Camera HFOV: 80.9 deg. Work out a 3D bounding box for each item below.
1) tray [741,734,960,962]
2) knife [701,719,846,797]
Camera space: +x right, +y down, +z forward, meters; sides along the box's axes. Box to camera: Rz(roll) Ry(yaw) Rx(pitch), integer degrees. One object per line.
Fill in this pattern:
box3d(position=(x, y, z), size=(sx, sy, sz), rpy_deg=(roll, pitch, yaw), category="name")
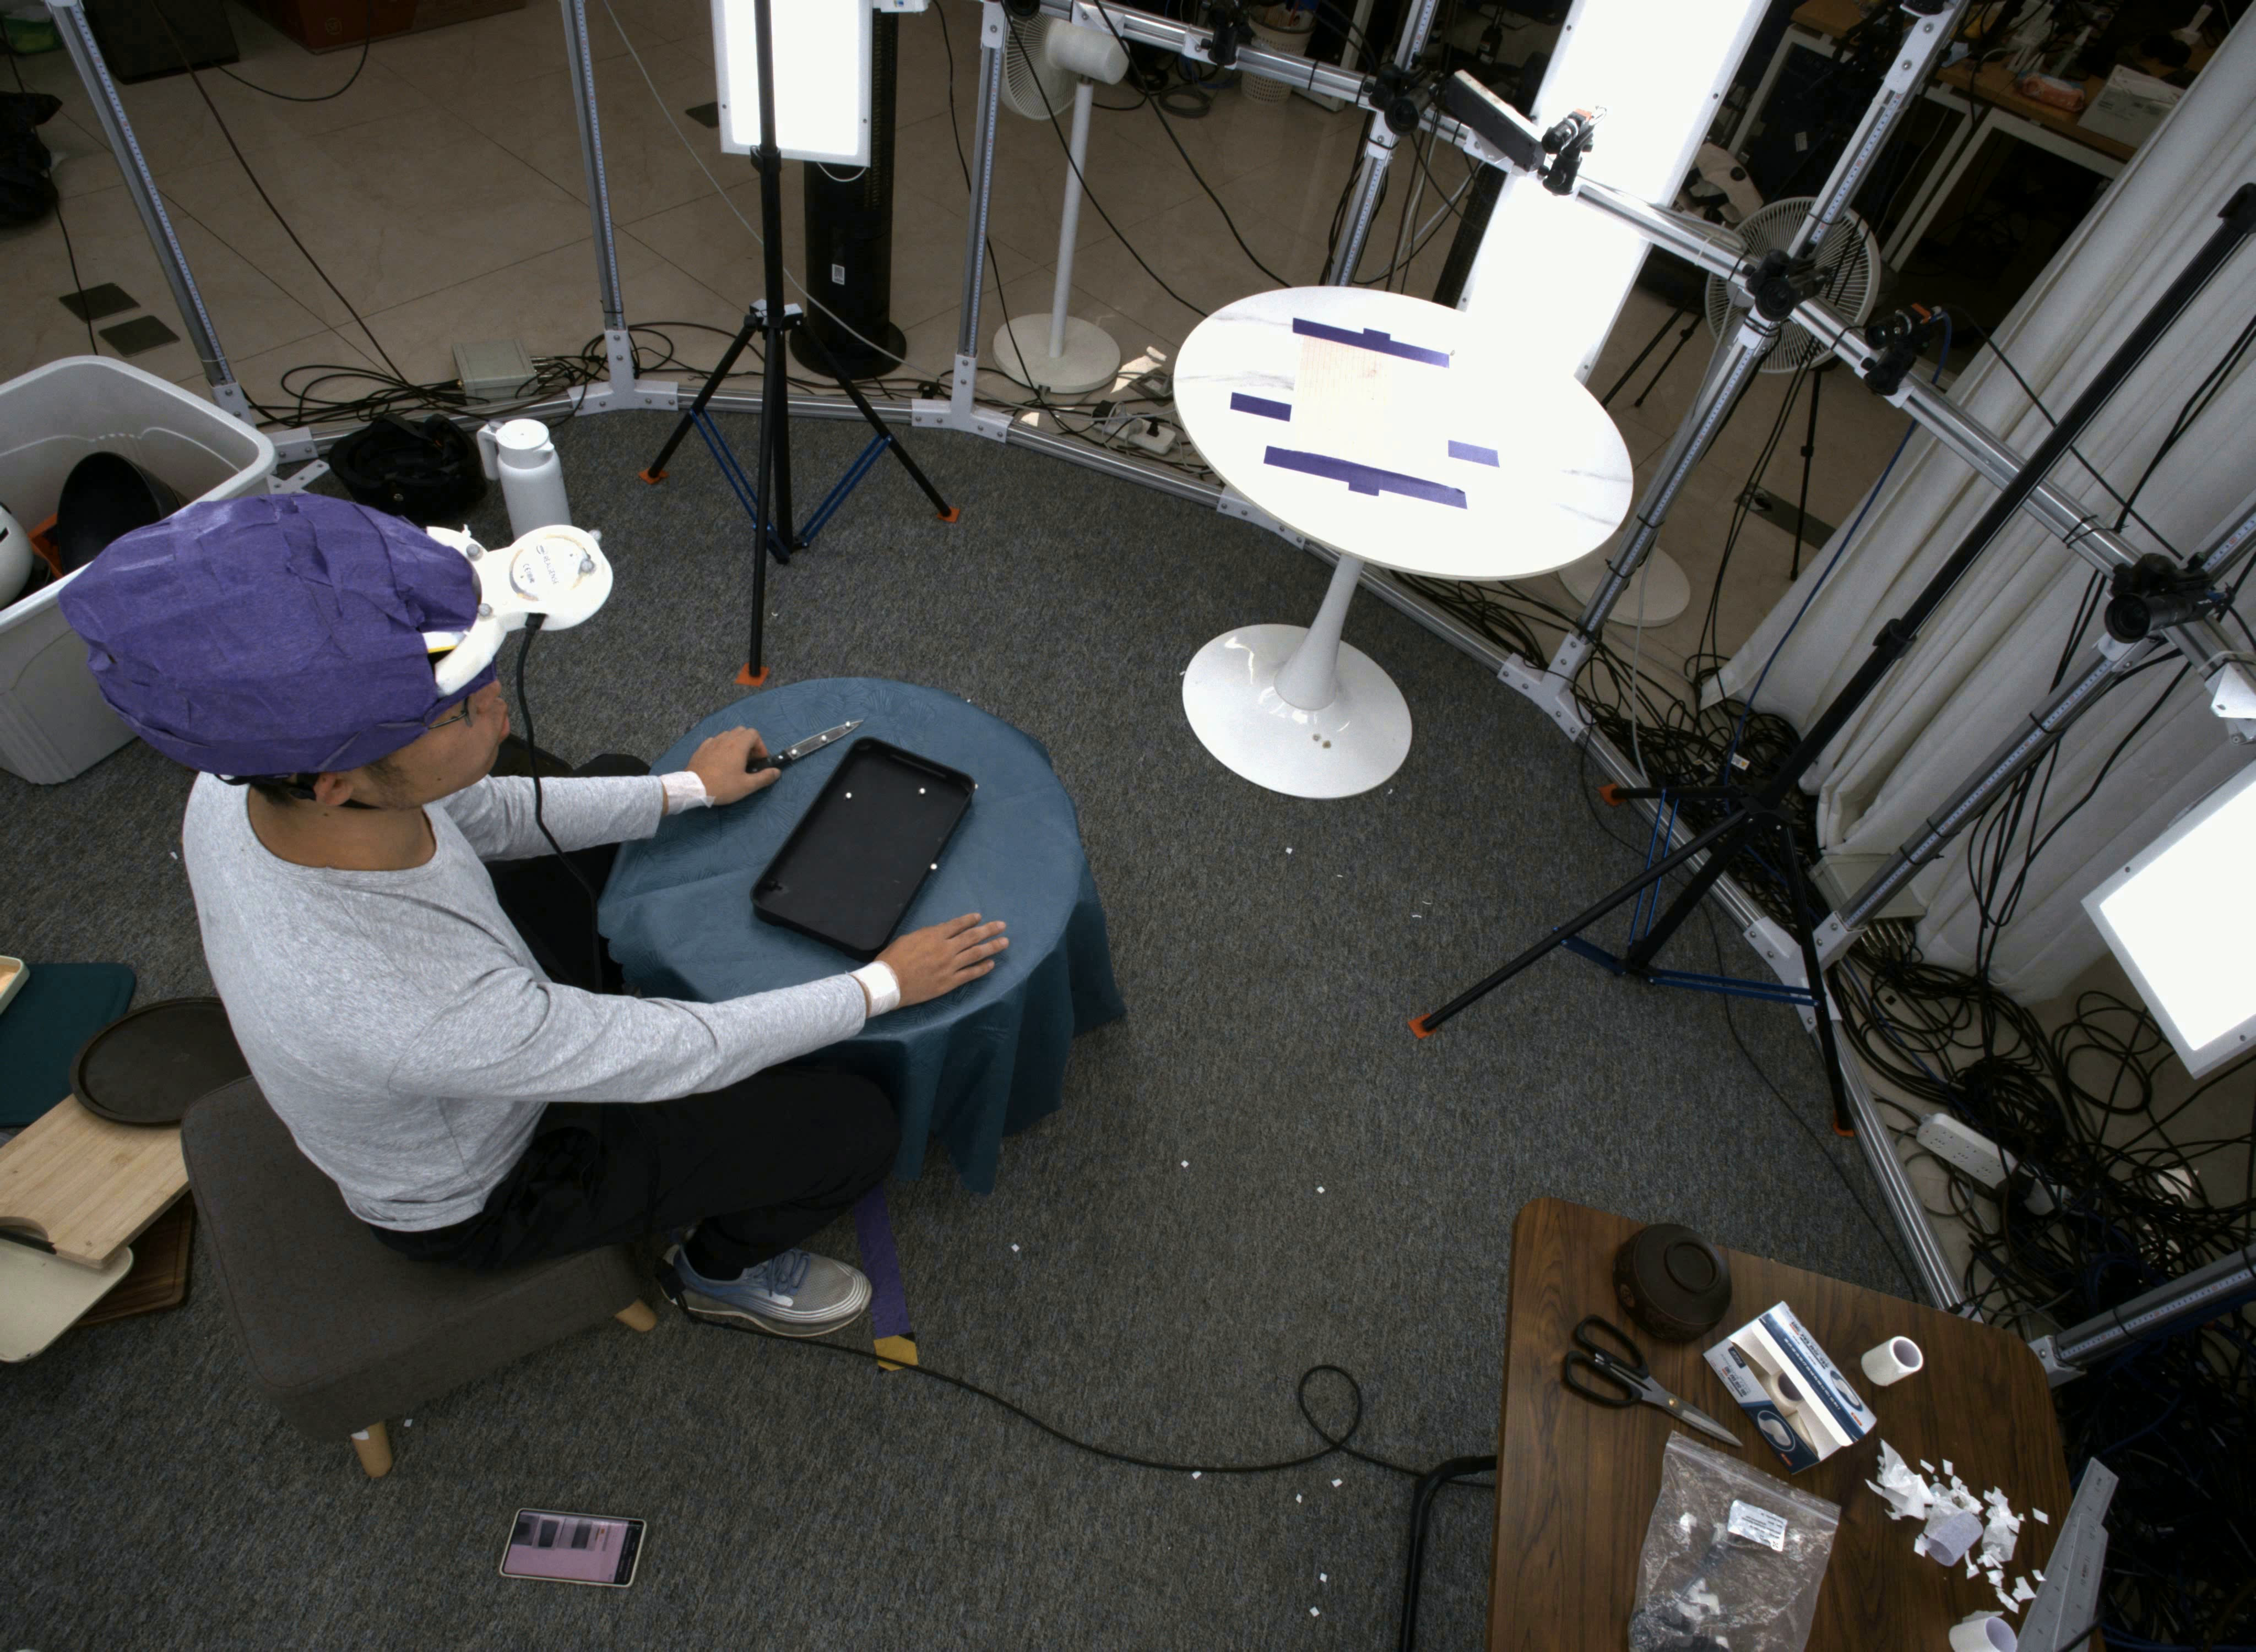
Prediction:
box3d(position=(-0.359, 0.022, 1.713), size=(0.182, 0.038, 0.315), rpy_deg=(20, 52, 2), category="tray")
box3d(position=(-0.482, -0.097, 1.783), size=(0.024, 0.016, 0.239), rpy_deg=(42, 52, 19), category="knife")
